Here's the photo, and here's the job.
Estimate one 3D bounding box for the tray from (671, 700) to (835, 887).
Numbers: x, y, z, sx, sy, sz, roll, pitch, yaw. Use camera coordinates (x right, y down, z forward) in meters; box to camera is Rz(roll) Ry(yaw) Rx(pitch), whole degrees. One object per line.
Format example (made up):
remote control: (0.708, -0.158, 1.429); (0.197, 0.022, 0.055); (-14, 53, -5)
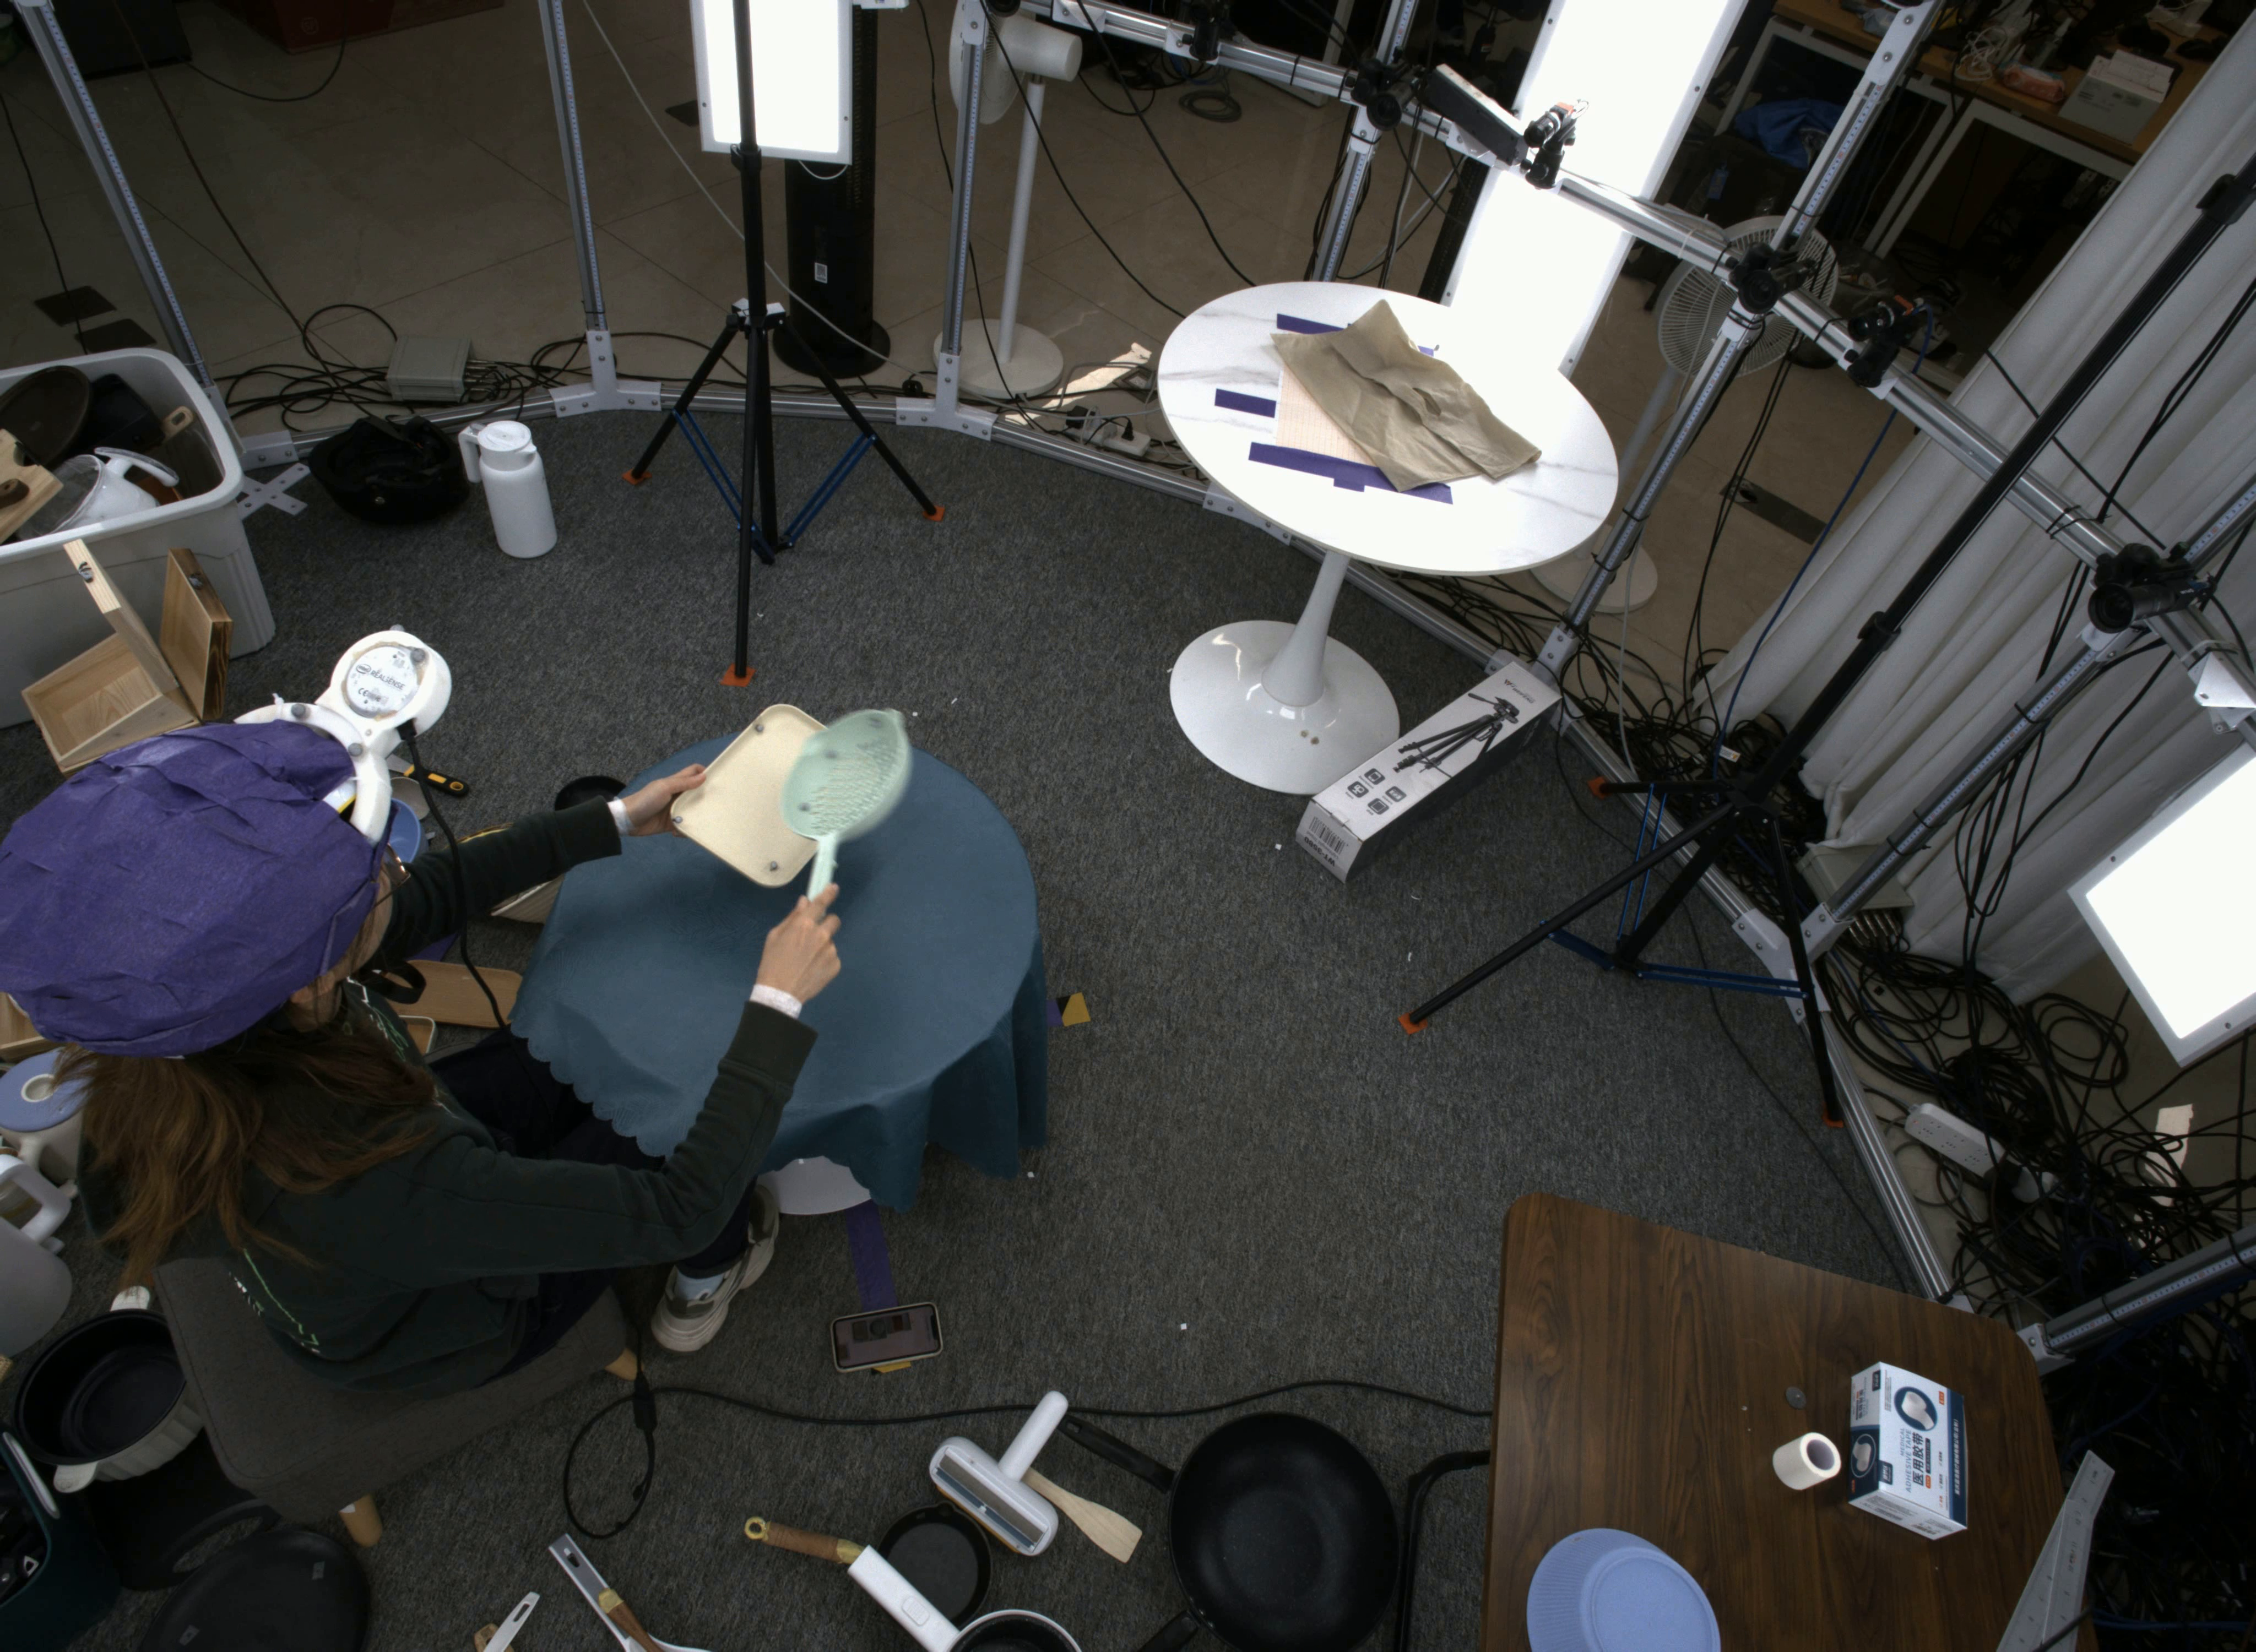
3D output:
tray: (-0.430, -0.043, 1.586); (0.171, 0.017, 0.238); (34, 53, -2)

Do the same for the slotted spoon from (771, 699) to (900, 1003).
slotted spoon: (-0.328, 0.019, 1.401); (0.165, 0.078, 0.353); (-15, 45, 24)
